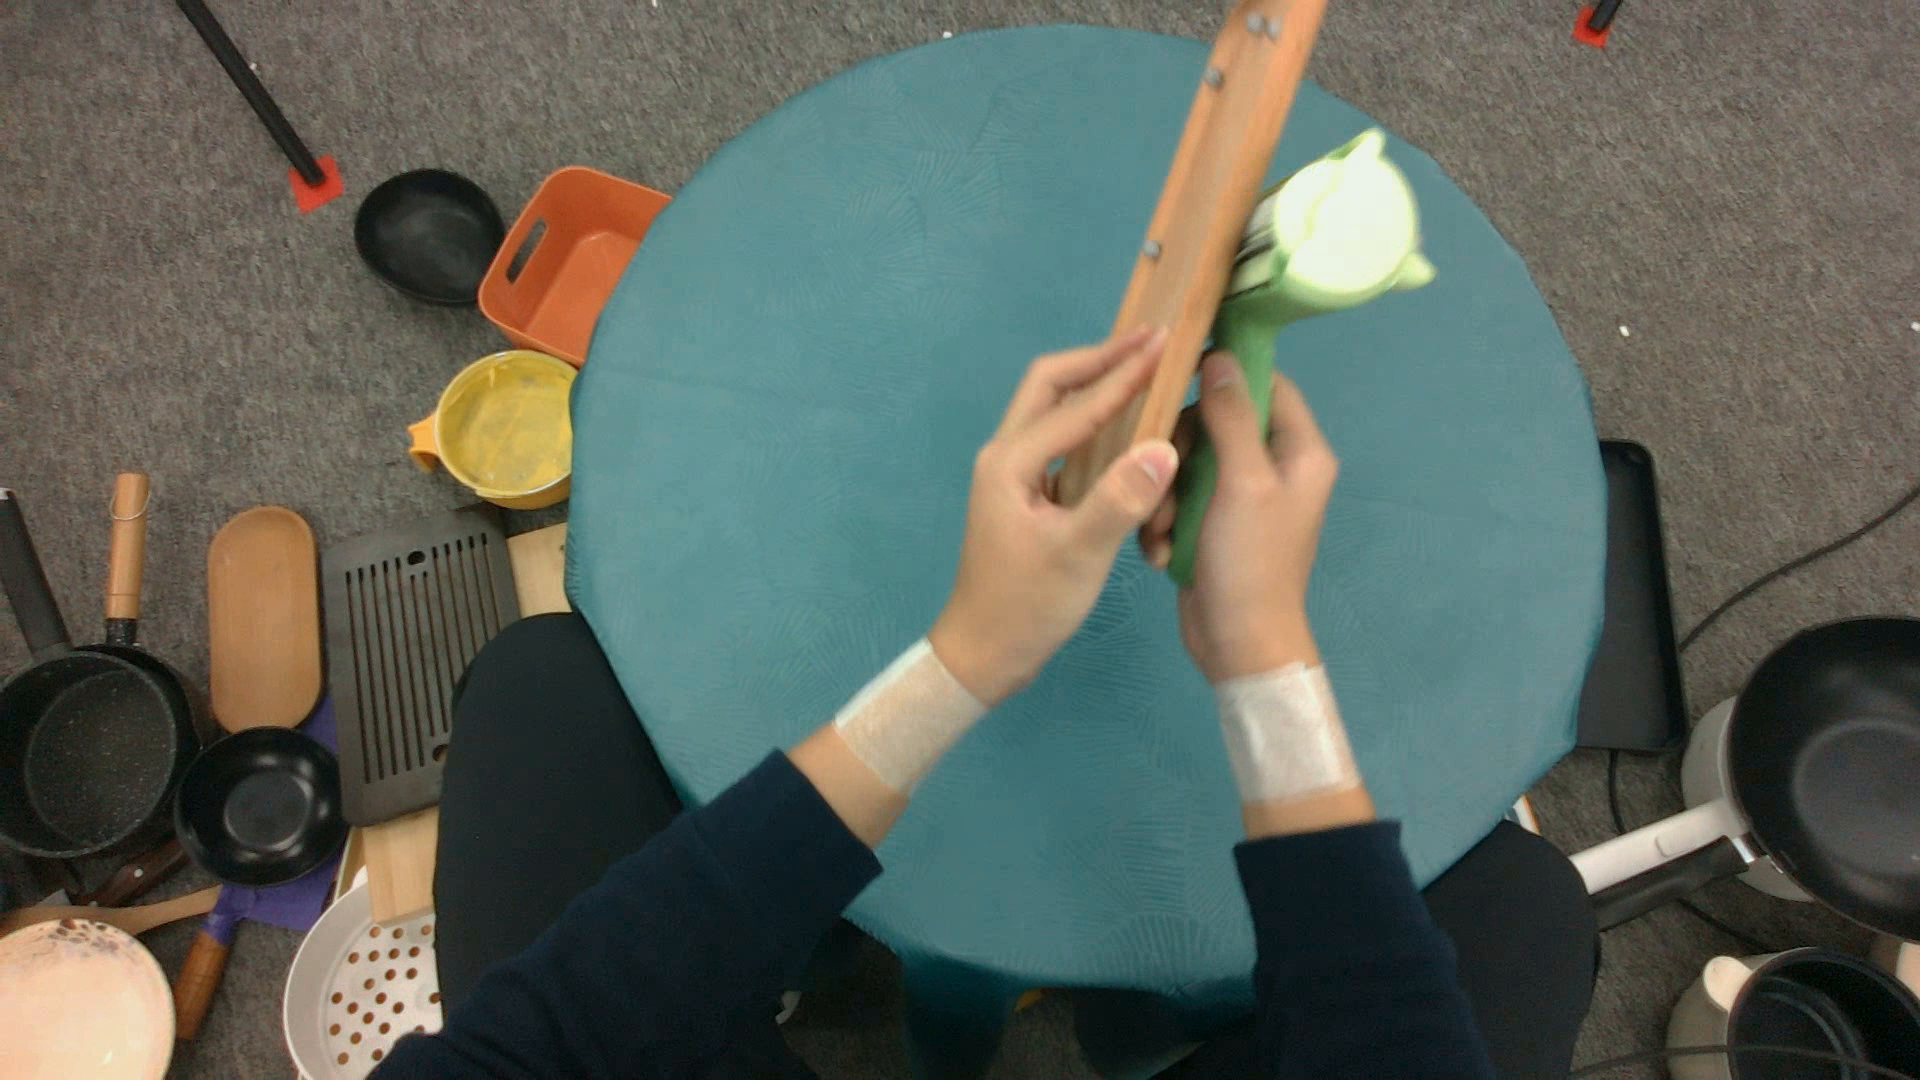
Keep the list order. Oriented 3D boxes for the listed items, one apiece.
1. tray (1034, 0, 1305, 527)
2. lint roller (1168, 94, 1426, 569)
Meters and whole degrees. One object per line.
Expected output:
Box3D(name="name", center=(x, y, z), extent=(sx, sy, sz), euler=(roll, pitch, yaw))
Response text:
Box3D(name="tray", center=(0.088, -0.124, 0.589), extent=(0.023, 0.130, 0.250), euler=(19, 90, -6))
Box3D(name="lint roller", center=(0.132, -0.078, 0.592), extent=(0.082, 0.198, 0.183), euler=(1, 95, -6))
